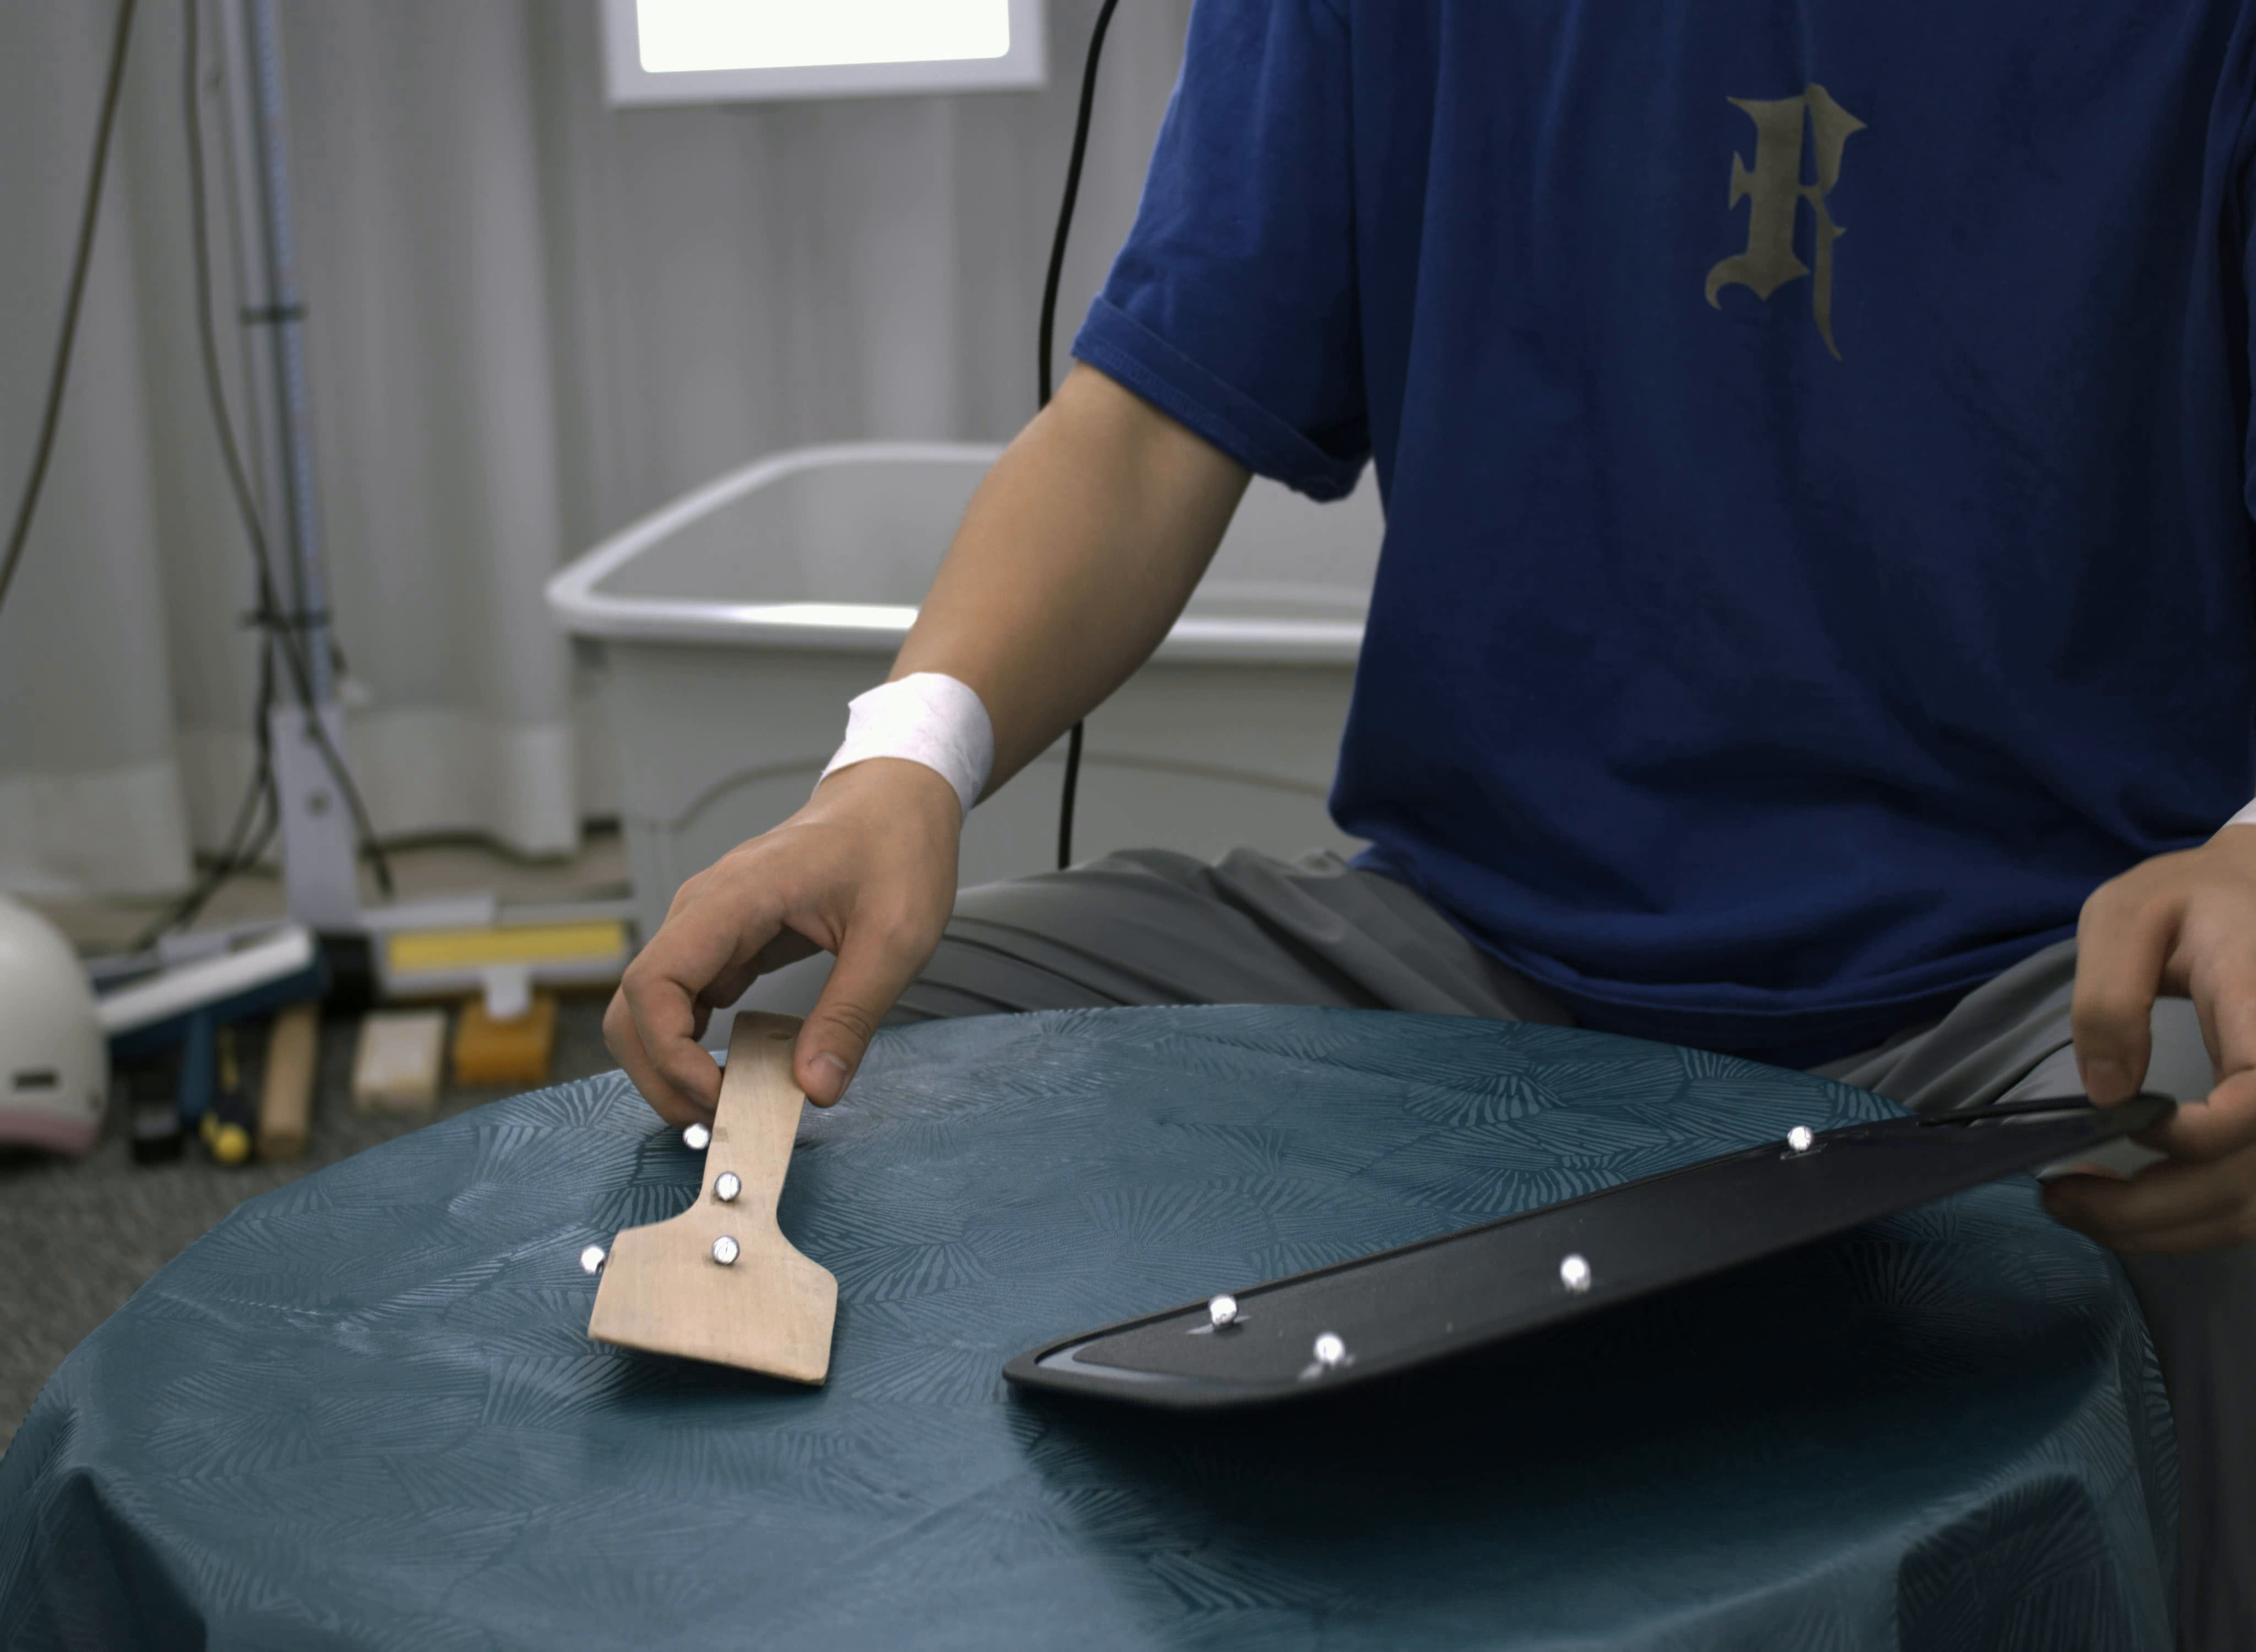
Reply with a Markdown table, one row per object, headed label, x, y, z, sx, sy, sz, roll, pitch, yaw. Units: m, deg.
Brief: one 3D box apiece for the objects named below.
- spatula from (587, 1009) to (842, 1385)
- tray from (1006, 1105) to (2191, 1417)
| label | x | y | z | sx | sy | sz | roll | pitch | yaw |
| --- | --- | --- | --- | --- | --- | --- | --- | --- | --- |
| spatula | -0.119 | 0.110 | 1.690 | 0.072 | 0.010 | 0.295 | 9 | 18 | -2 |
| tray | 0.136 | 0.117 | 1.533 | 0.324 | 0.010 | 0.211 | -14 | 4 | -22 |
